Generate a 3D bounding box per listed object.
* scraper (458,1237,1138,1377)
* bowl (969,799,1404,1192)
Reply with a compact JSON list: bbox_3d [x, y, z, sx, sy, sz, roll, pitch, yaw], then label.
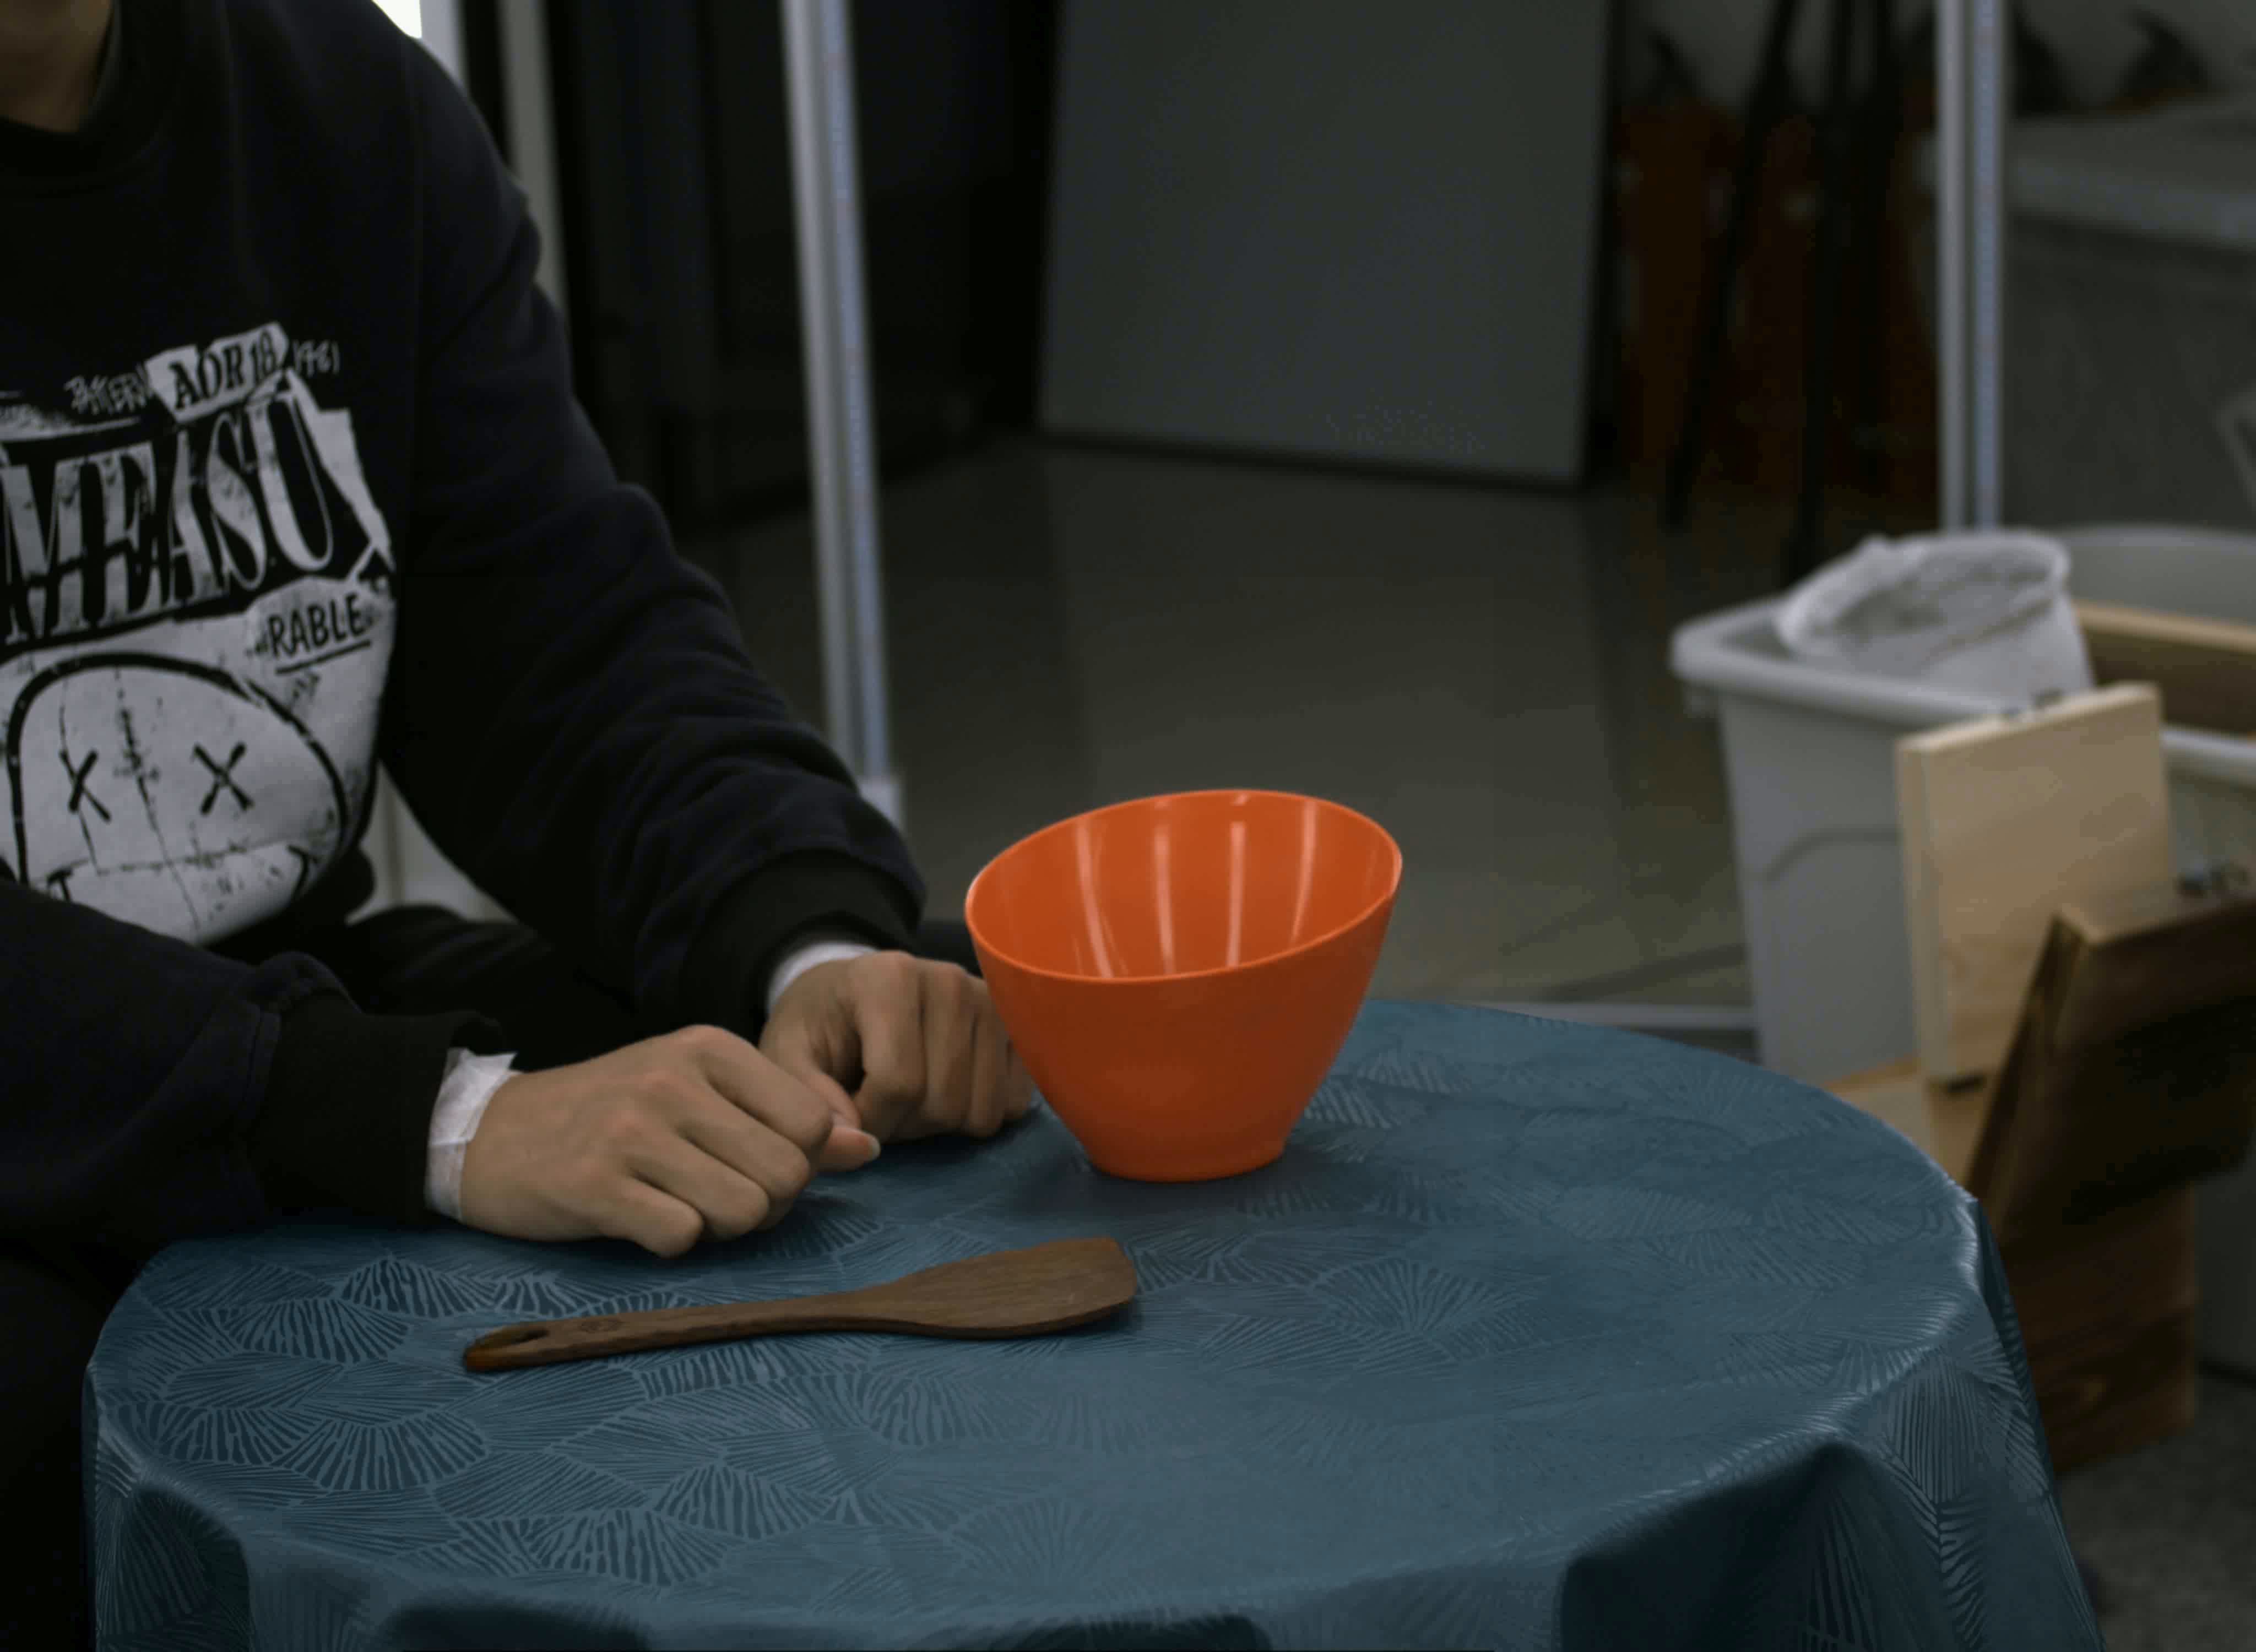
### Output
[{"bbox_3d":[-0.101,0.152,1.661,0.208,0.011,0.076,-6,13,-6],"label":"scraper"},{"bbox_3d":[0.022,0.060,1.804,0.146,0.106,0.148,-4,14,0],"label":"bowl"}]
